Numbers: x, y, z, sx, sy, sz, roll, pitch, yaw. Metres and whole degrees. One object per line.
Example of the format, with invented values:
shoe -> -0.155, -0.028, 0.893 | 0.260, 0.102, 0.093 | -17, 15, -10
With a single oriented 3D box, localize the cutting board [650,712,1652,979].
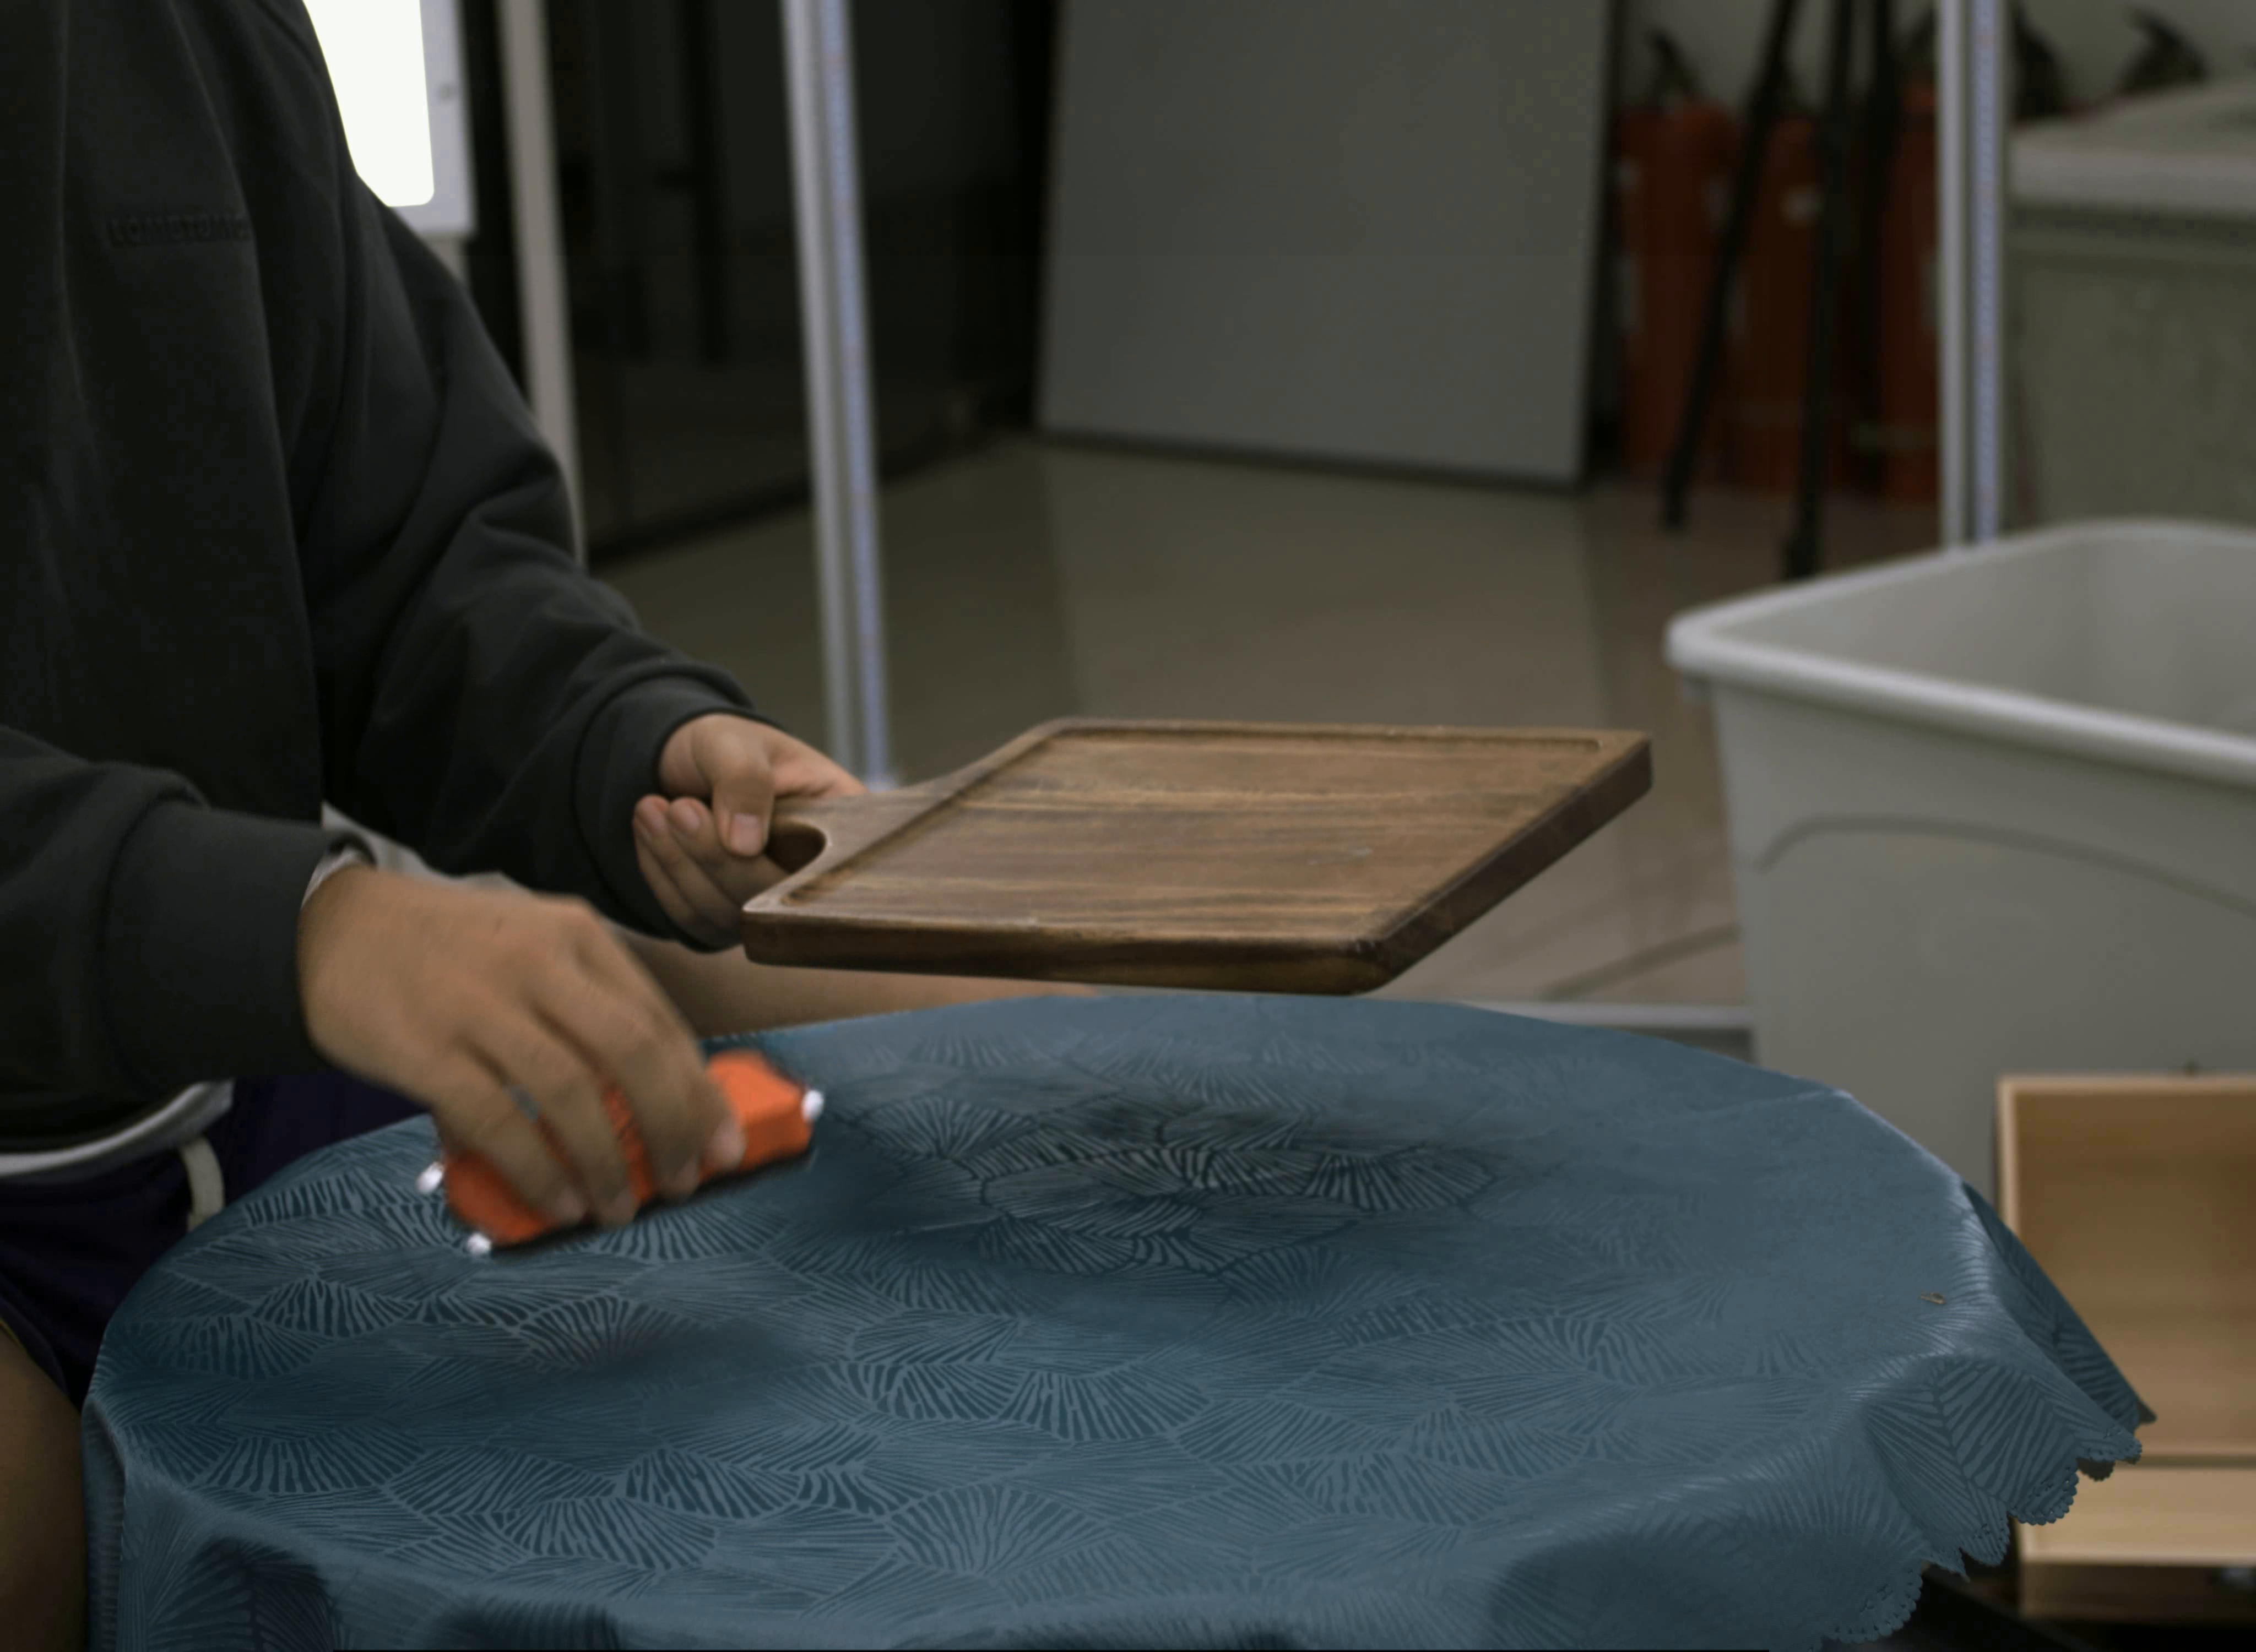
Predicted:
cutting board -> -0.017, 0.004, 1.803 | 0.354, 0.023, 0.198 | 0, 21, 35

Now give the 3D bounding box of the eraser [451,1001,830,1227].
eraser -> -0.148, 0.087, 1.646 | 0.106, 0.023, 0.059 | -20, 23, -21
